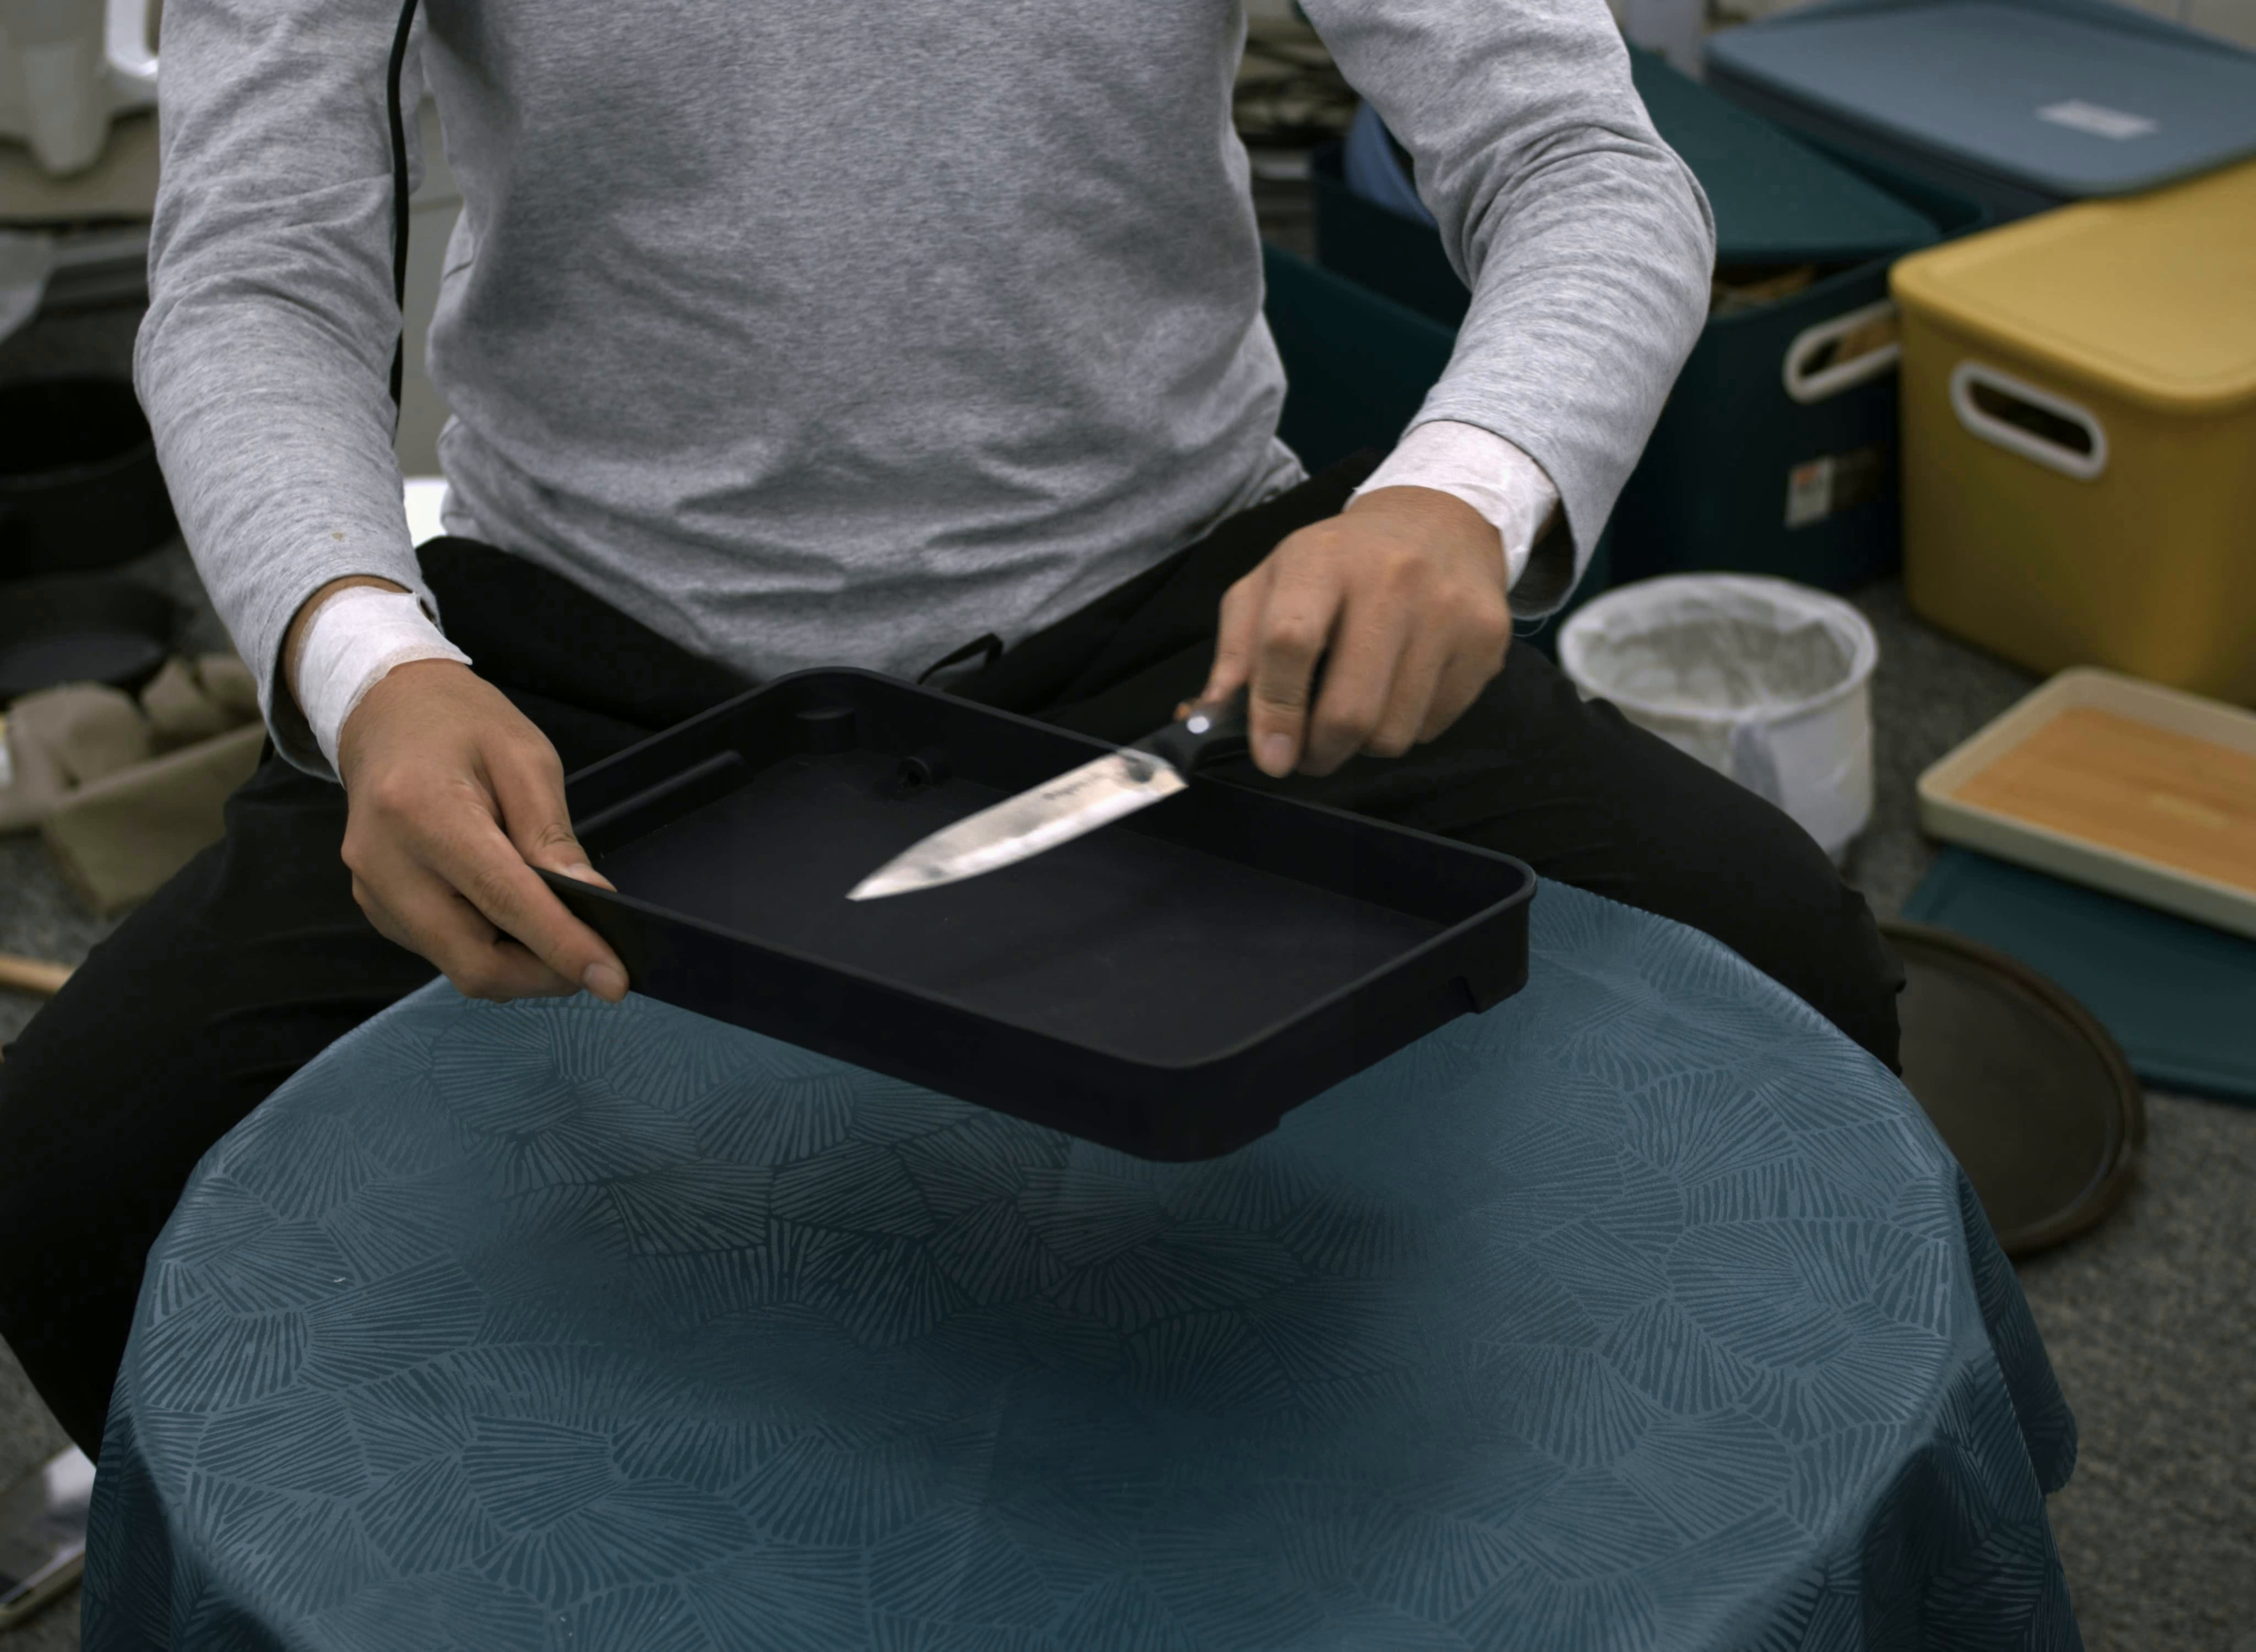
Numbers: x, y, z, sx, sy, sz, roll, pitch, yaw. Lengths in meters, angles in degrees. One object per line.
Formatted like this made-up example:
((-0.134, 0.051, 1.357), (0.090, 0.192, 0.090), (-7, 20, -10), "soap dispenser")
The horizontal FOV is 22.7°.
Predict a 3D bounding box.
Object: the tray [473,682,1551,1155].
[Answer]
((-0.039, 0.024, 1.775), (0.316, 0.037, 0.186), (14, 27, 37), "tray")

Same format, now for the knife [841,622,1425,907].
((0.002, -0.020, 1.800), (0.240, 0.016, 0.024), (-25, 57, -33), "knife")
